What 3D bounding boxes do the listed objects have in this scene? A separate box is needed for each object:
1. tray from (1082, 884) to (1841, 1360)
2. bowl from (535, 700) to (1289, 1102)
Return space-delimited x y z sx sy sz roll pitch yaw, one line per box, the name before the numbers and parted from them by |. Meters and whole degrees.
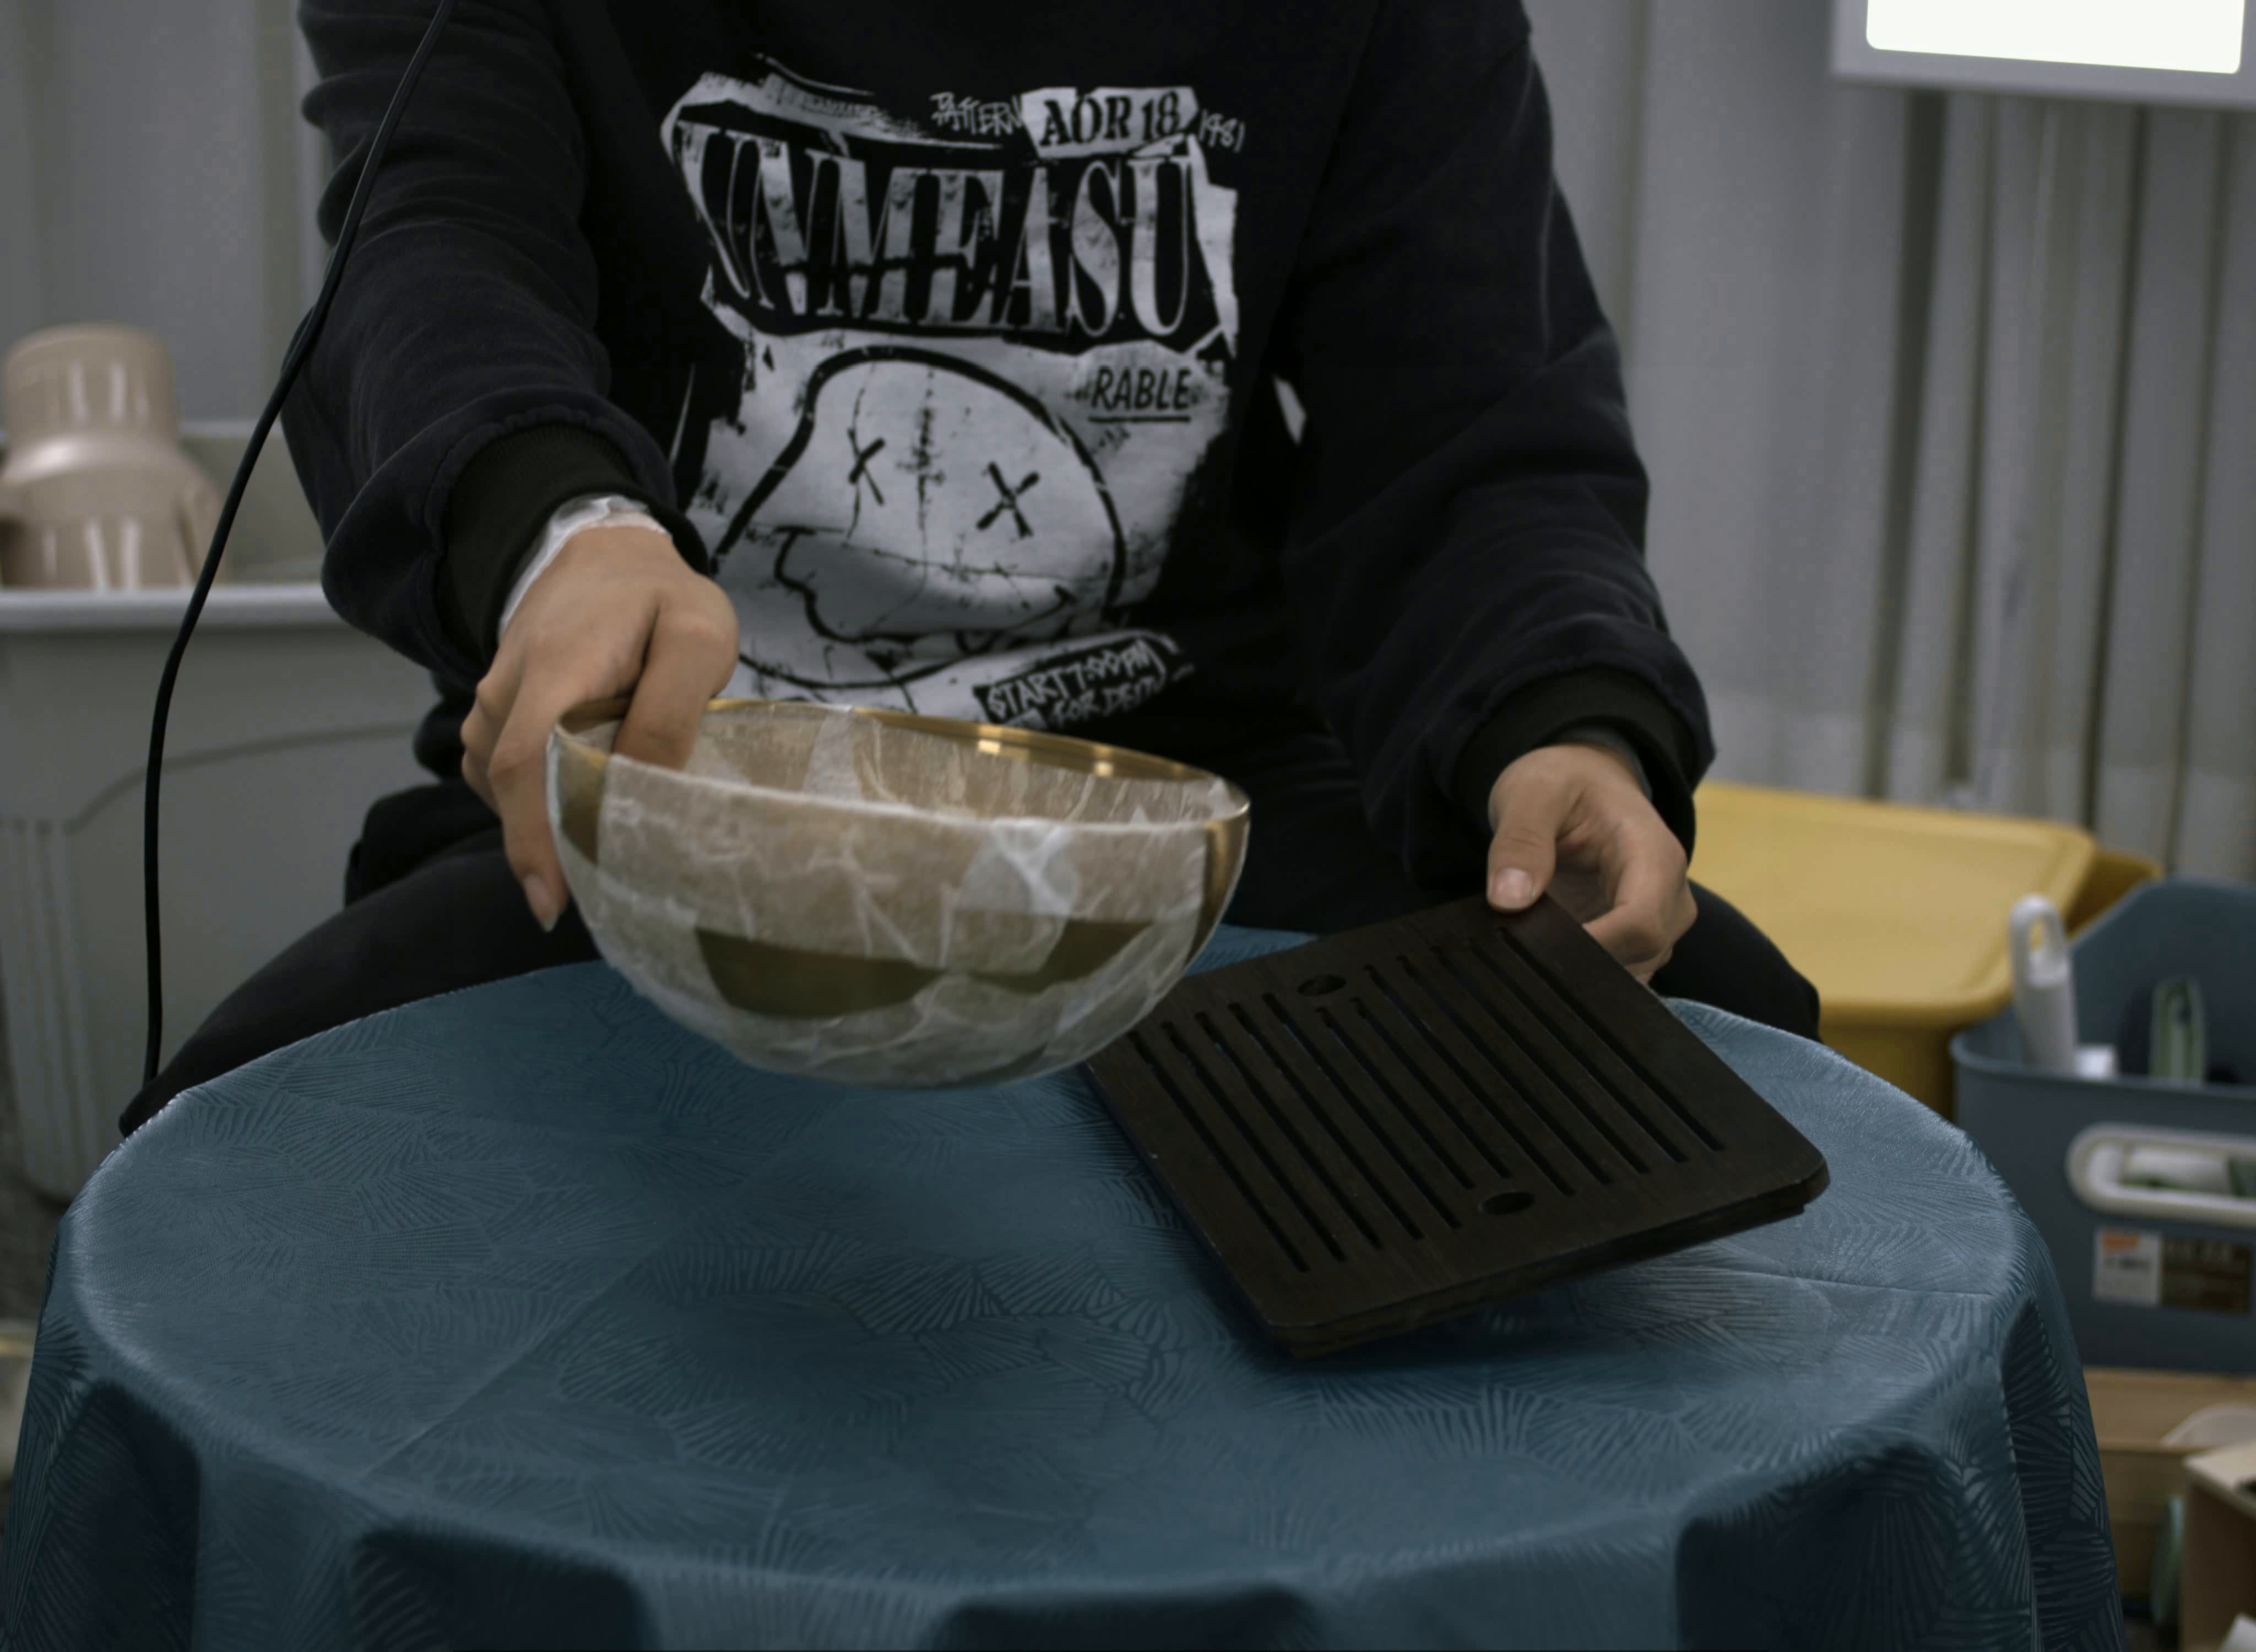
tray | 0.093 0.087 1.625 0.170 0.019 0.303 -16 18 -9
bowl | -0.067 0.026 1.487 0.214 0.095 0.214 7 9 -1
